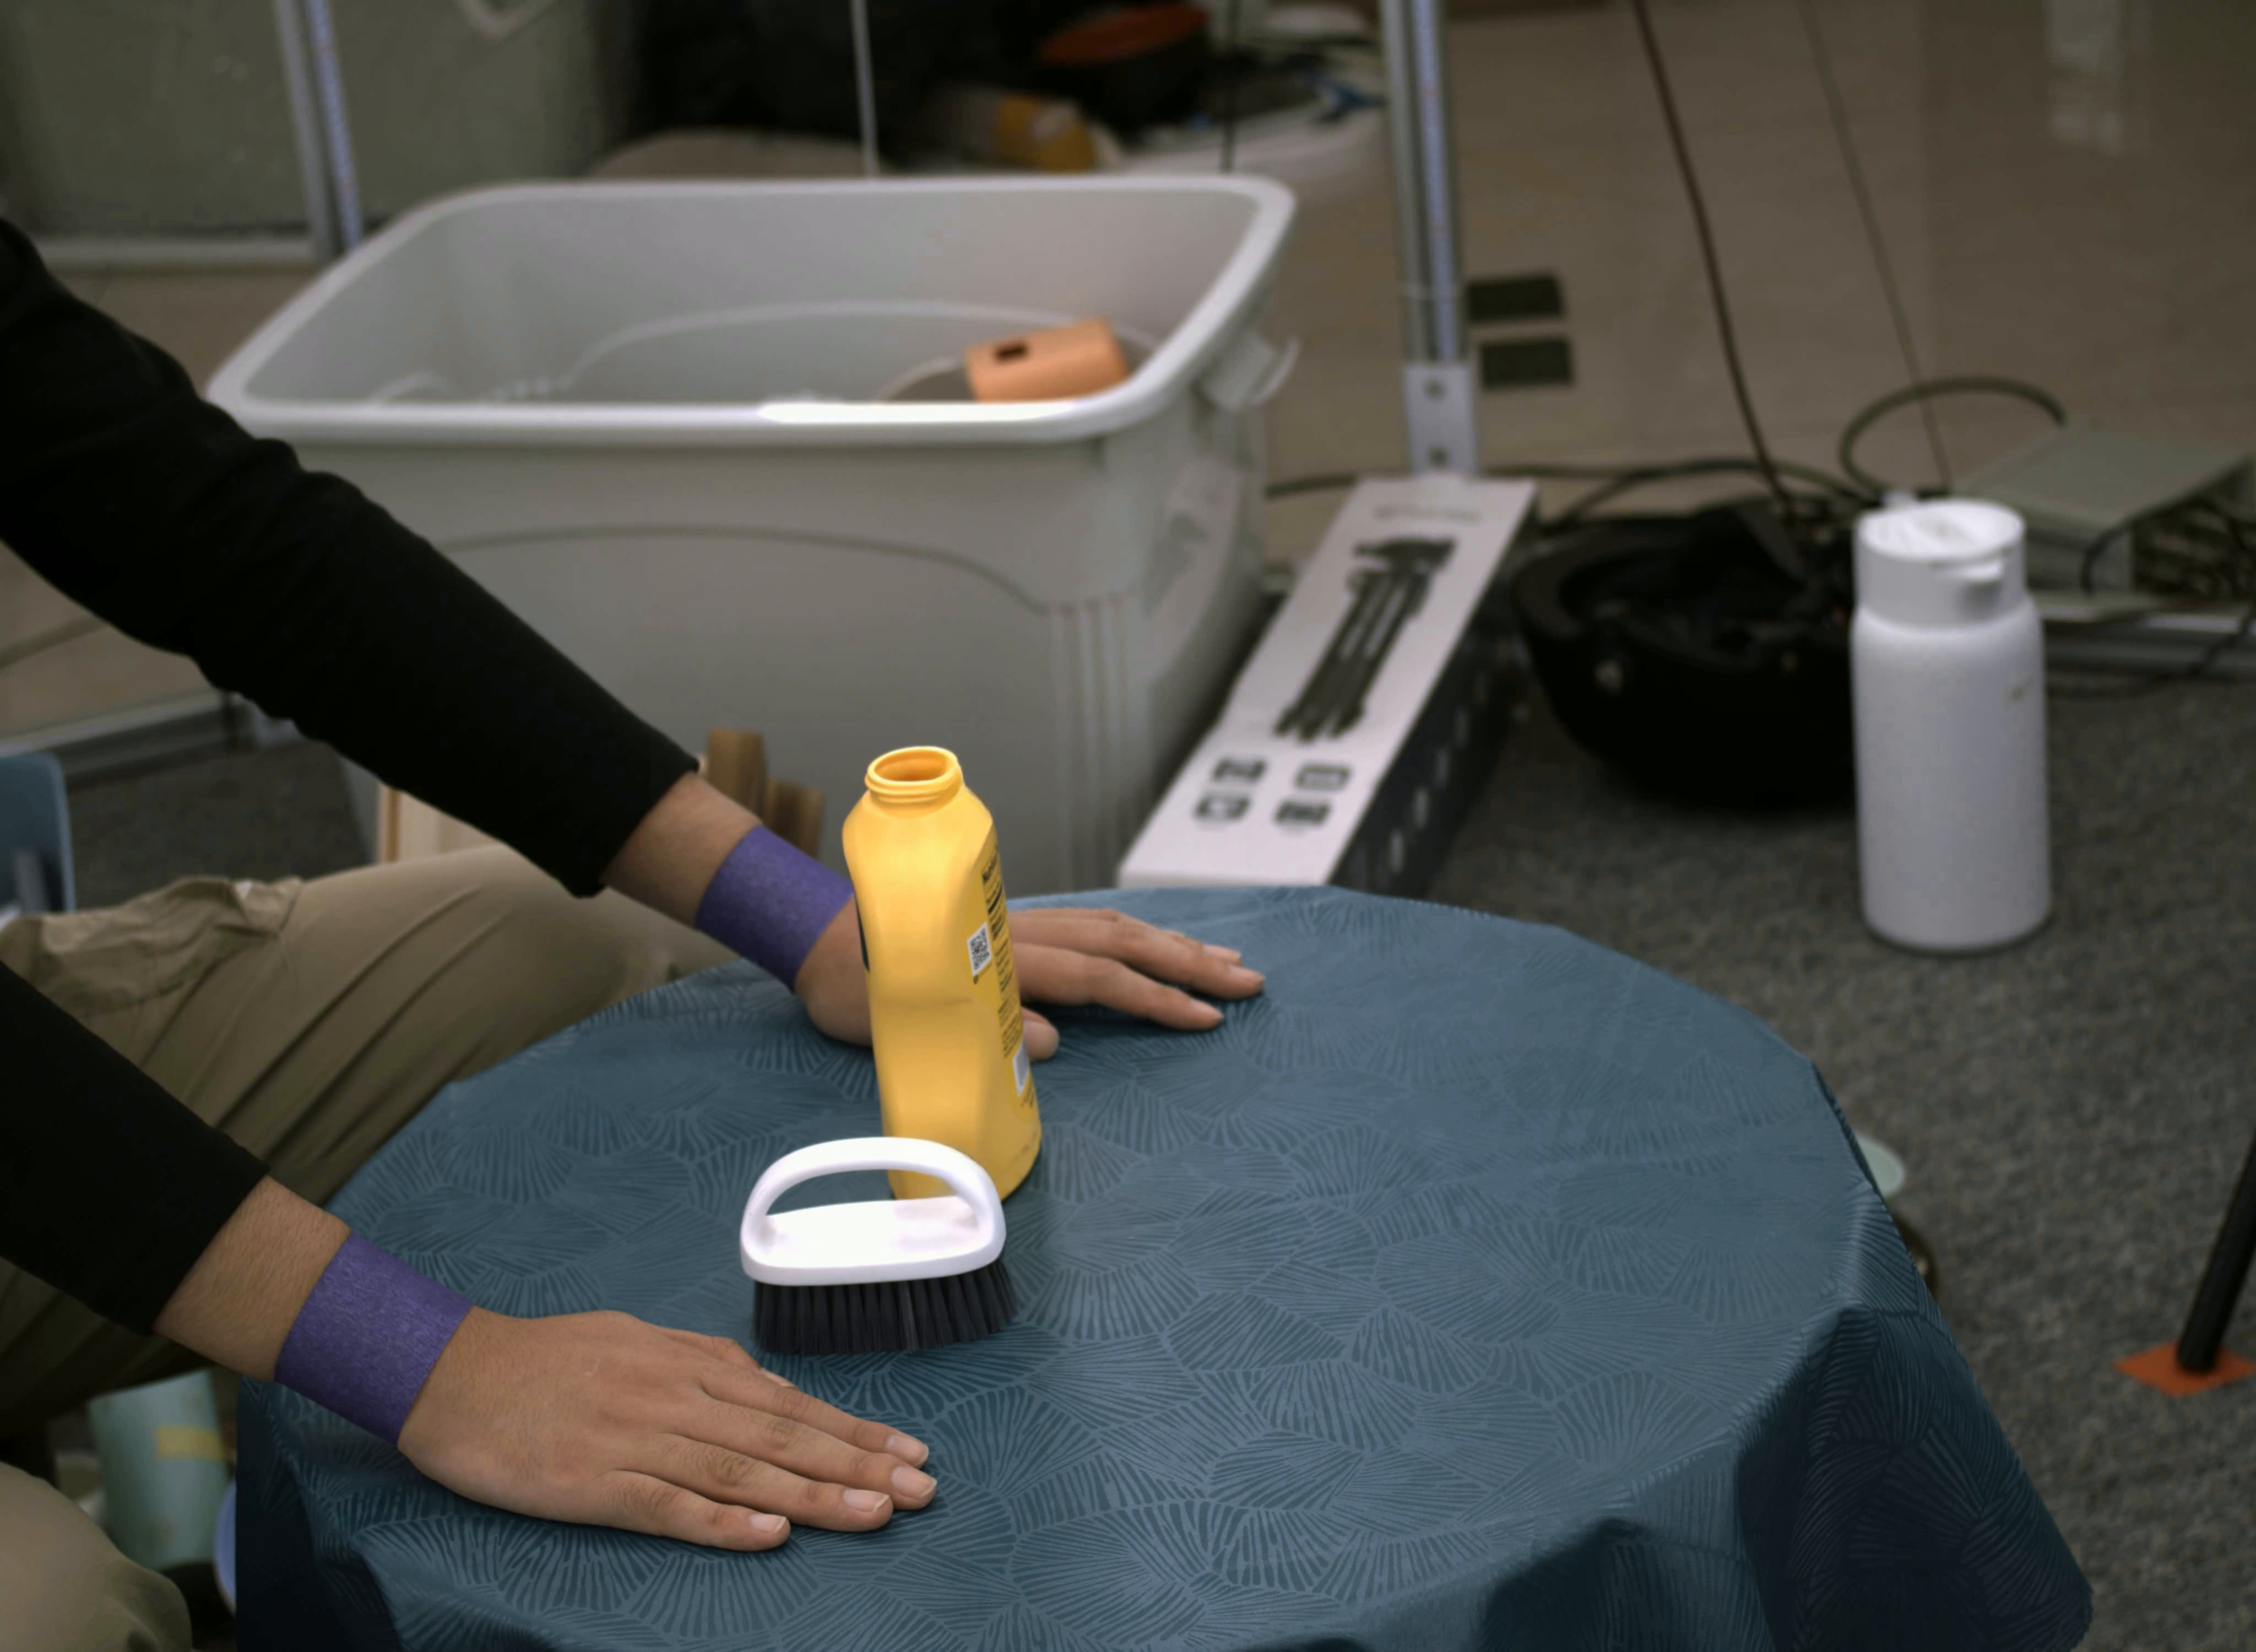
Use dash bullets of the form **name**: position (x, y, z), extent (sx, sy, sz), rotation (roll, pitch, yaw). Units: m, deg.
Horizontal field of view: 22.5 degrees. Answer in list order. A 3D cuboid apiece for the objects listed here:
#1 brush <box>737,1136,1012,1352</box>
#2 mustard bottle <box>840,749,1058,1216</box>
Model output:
- **brush**: position (-0.094, 0.147, 2.062), extent (0.099, 0.073, 0.049), rotation (-2, 25, 6)
- **mustard bottle**: position (-0.069, 0.056, 2.140), extent (0.059, 0.175, 0.097), rotation (-8, 26, 7)
